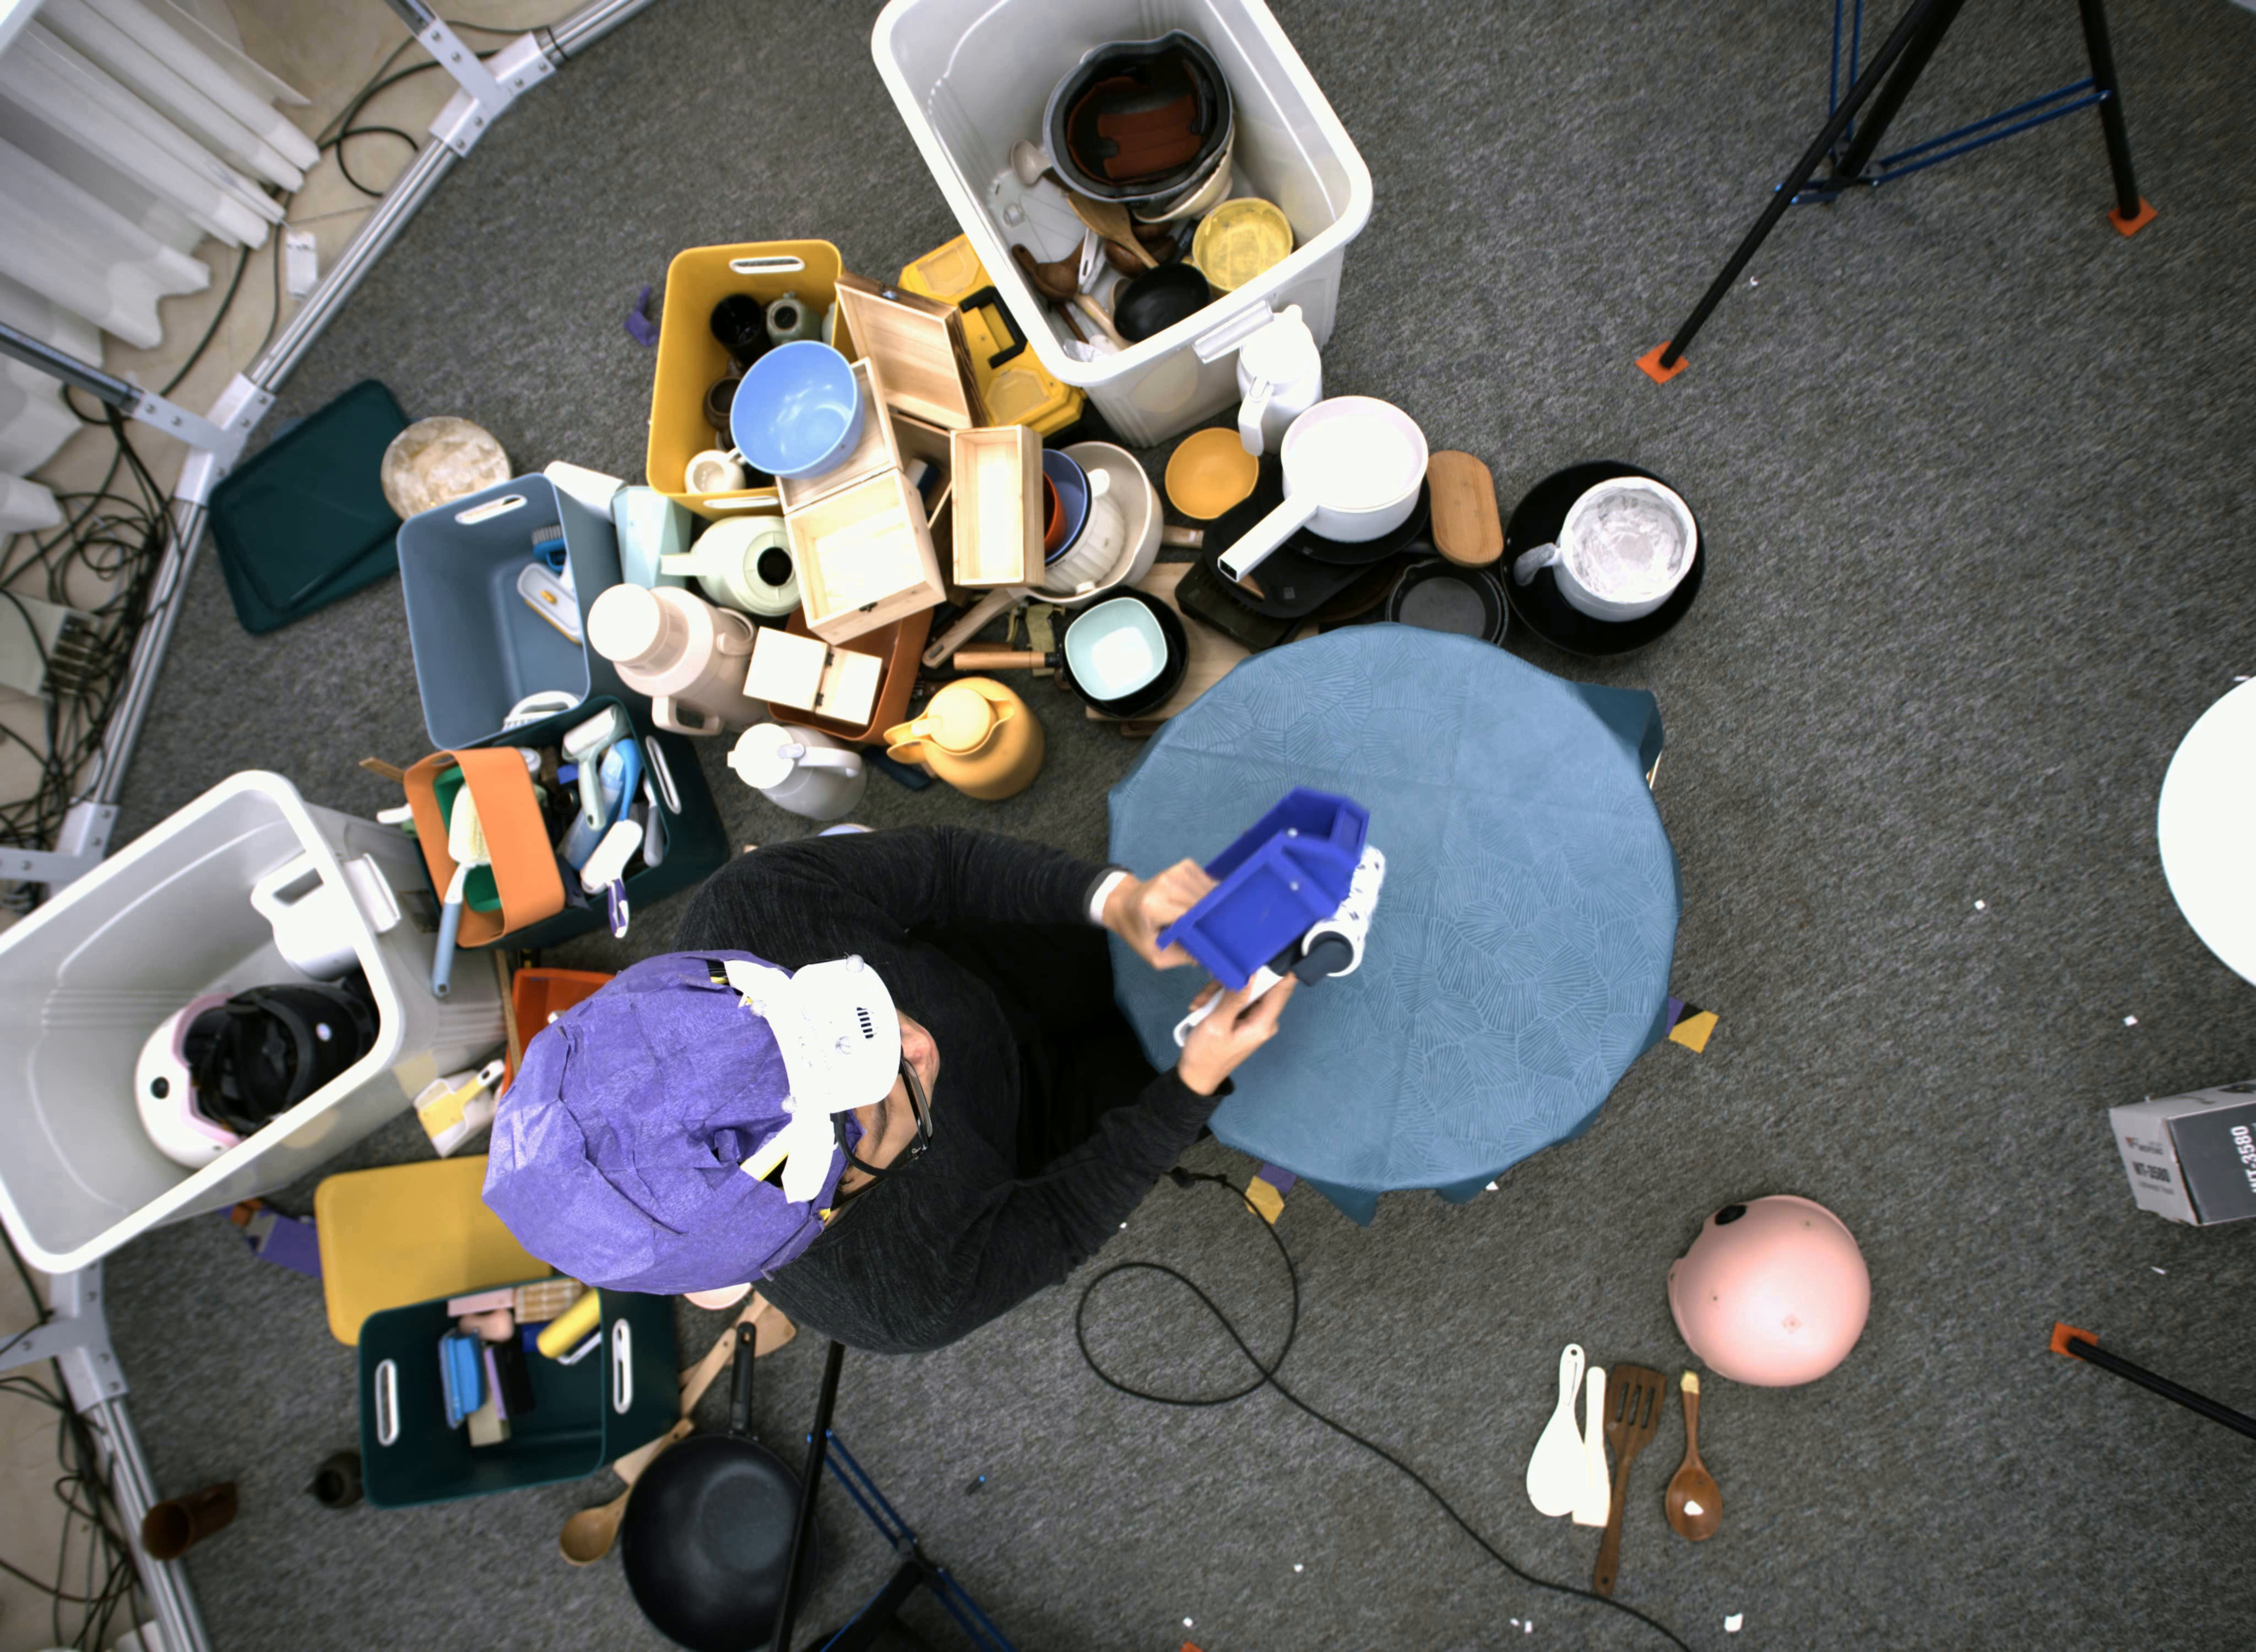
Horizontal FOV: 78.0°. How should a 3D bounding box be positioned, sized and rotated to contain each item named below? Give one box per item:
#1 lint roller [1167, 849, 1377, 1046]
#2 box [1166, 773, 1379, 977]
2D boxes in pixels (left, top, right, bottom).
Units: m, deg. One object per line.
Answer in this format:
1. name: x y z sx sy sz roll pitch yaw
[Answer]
1. lint roller: 0.126 0.132 1.268 0.050 0.172 0.252 41 123 -5
2. box: 0.132 0.036 1.191 0.082 0.122 0.183 42 117 -5
